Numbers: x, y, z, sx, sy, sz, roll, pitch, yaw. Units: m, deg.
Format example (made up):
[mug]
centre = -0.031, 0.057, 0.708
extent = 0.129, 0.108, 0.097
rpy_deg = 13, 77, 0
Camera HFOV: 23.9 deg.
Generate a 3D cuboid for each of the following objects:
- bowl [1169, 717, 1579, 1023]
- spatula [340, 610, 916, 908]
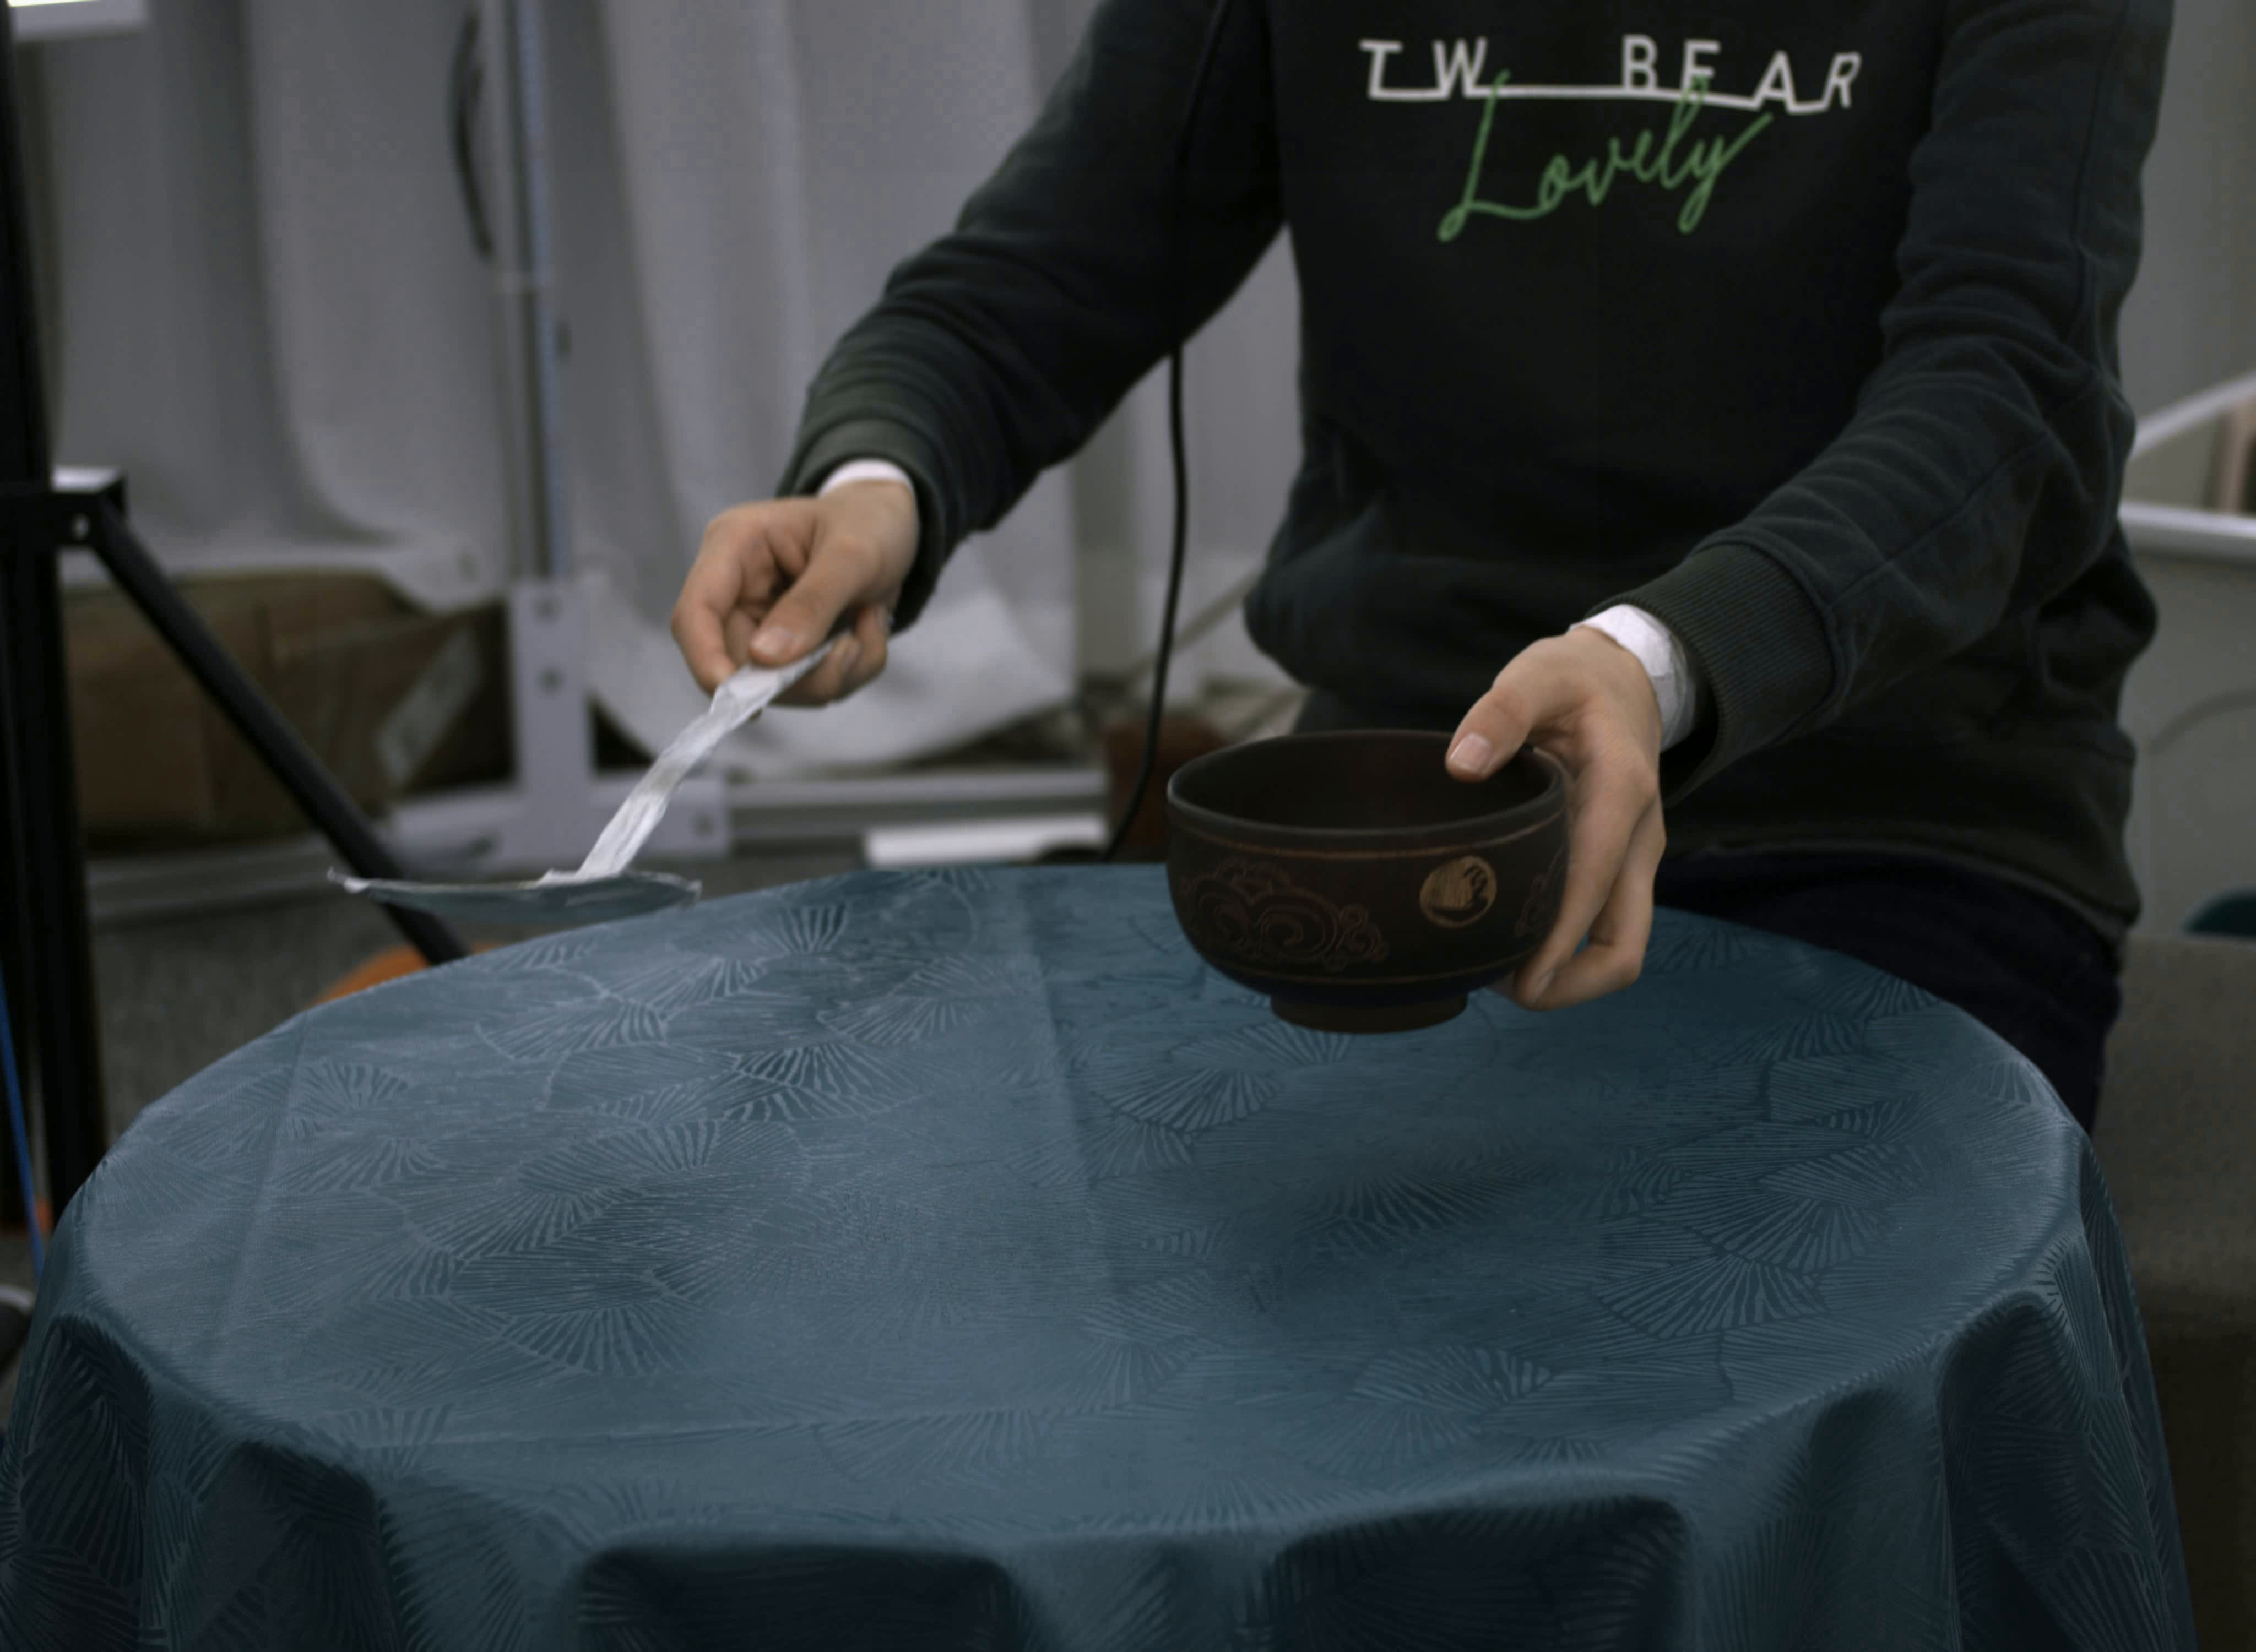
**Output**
[bowl]
centre = 0.070, 0.016, 1.523
extent = 0.117, 0.070, 0.118
rpy_deg = -1, 15, -1
[spatula]
centre = -0.132, -0.030, 1.645
extent = 0.099, 0.044, 0.362
rpy_deg = -4, 18, 17
